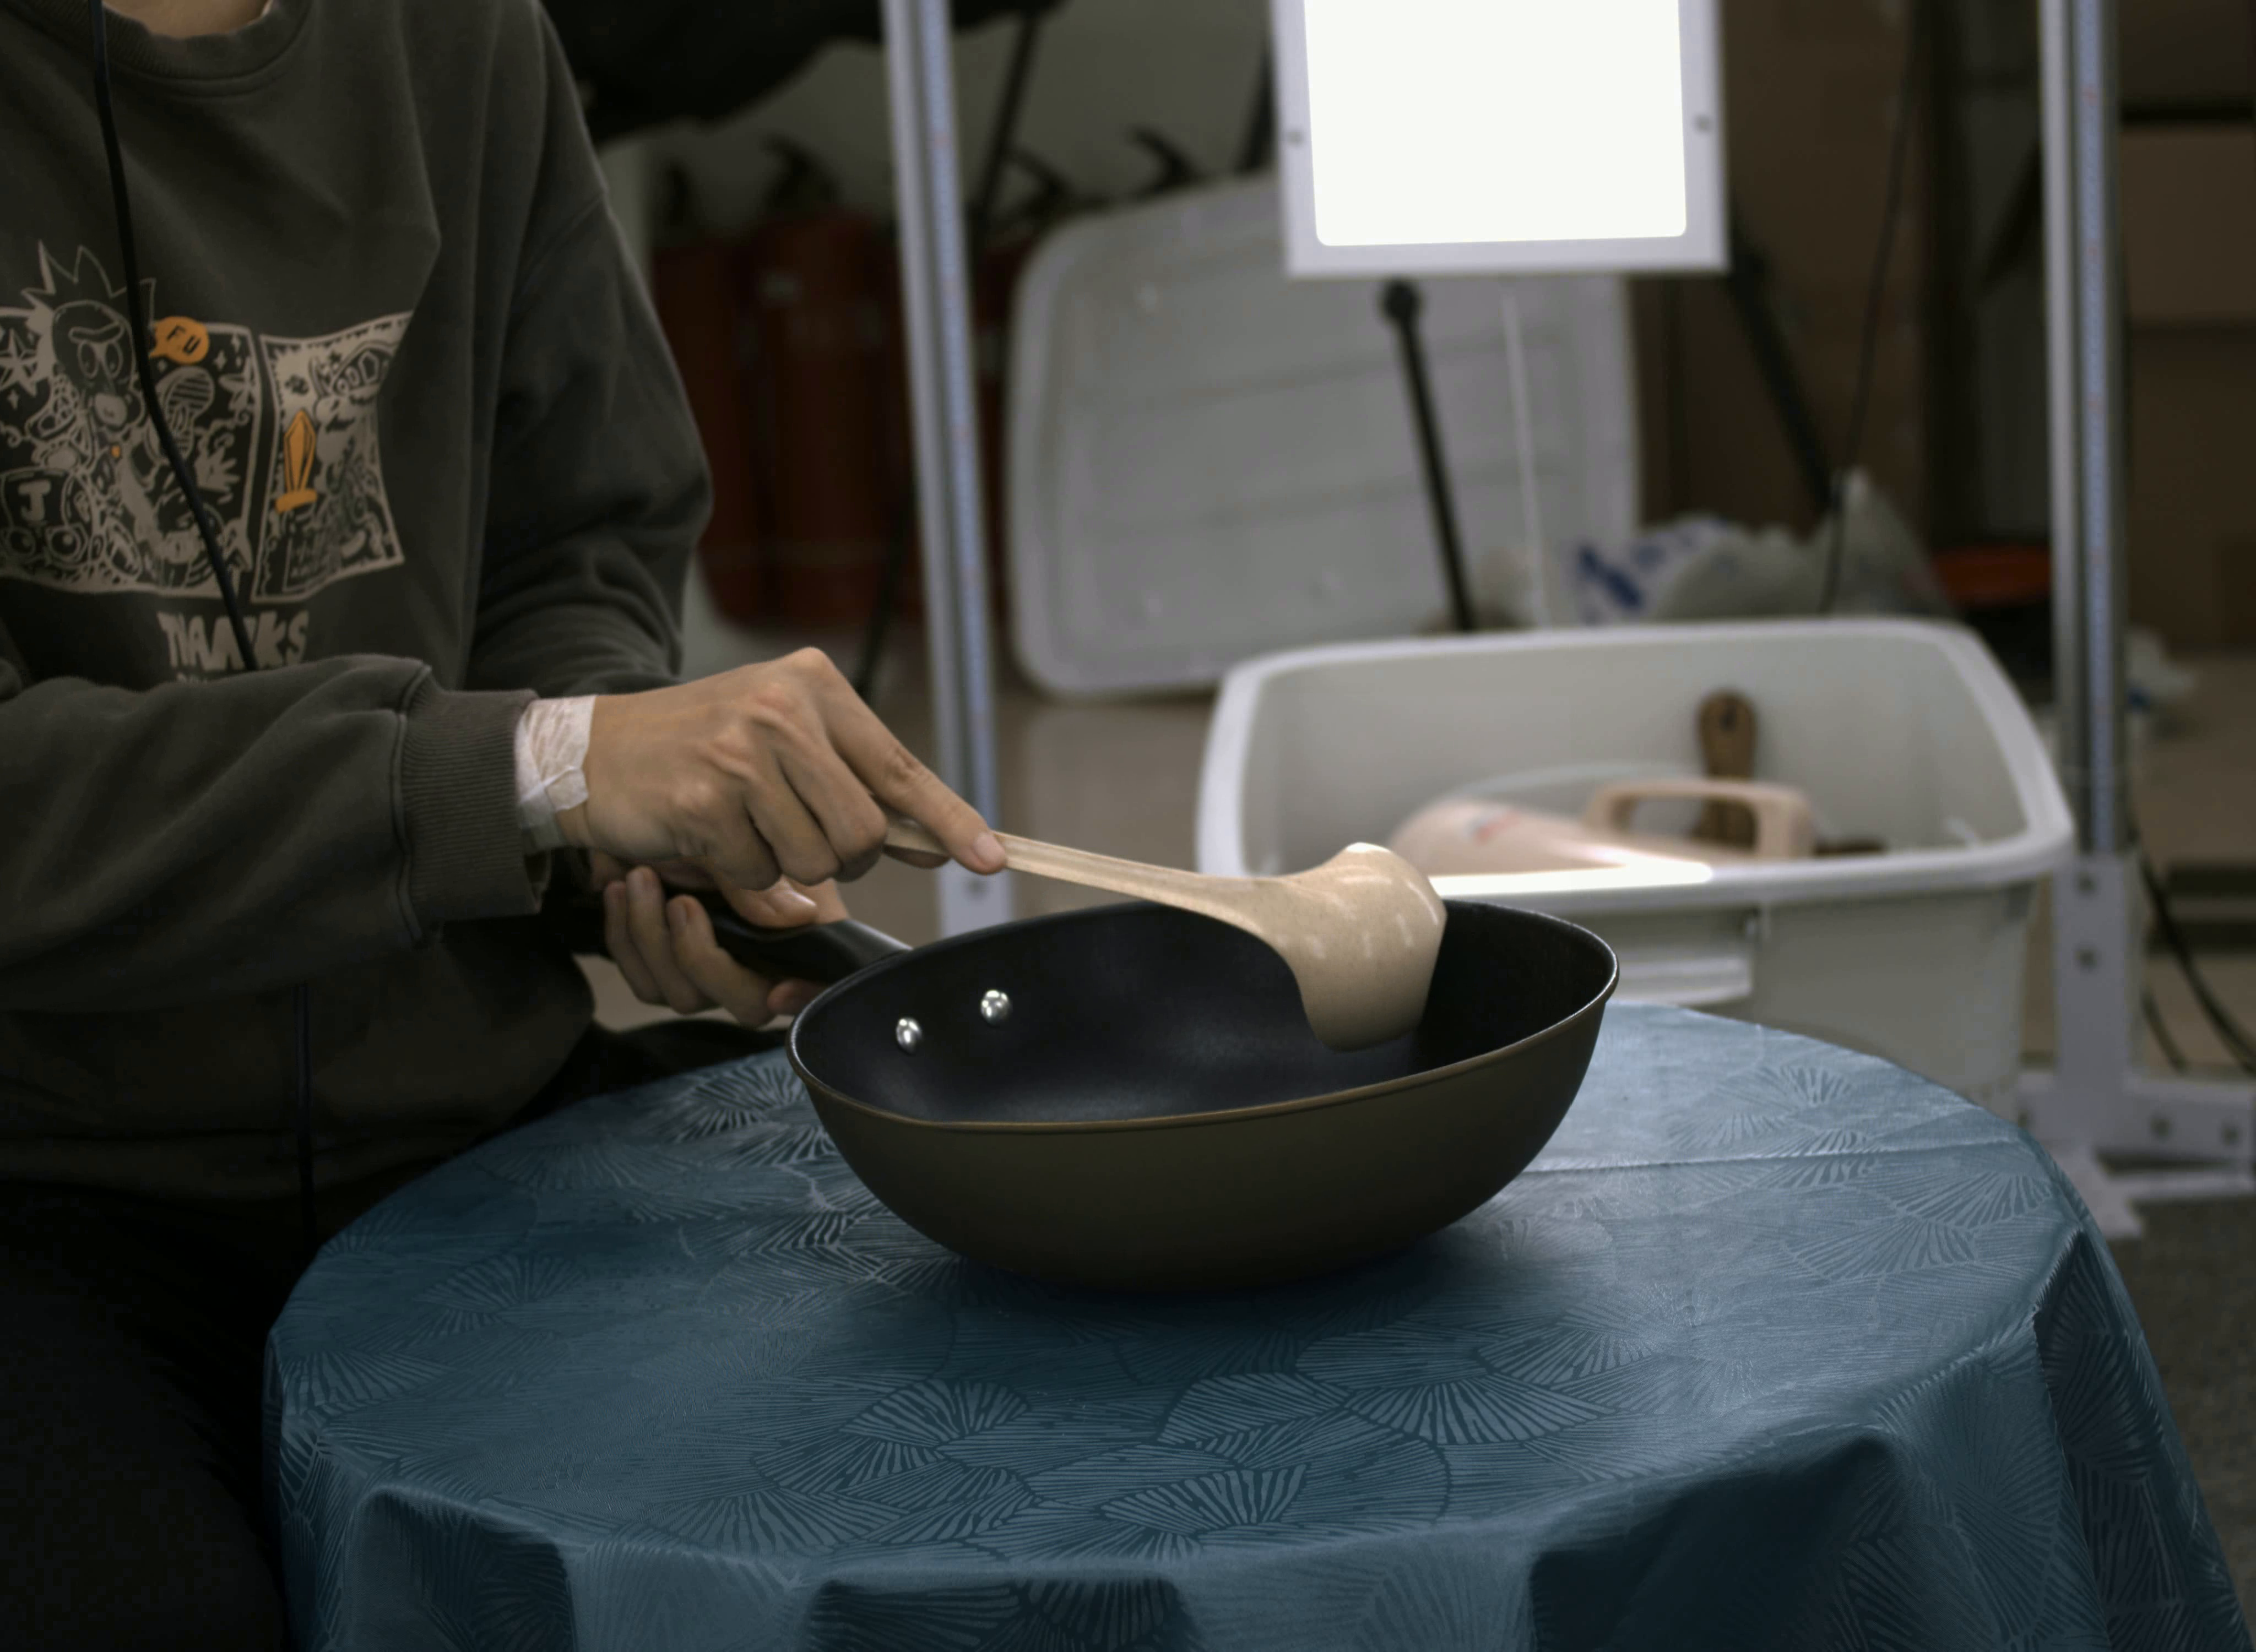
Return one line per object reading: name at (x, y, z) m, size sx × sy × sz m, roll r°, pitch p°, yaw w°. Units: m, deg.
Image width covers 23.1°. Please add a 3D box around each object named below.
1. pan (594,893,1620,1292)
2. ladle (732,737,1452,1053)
pan at (-0.036, 0.085, 1.907) m, size 0.281 × 0.087 × 0.473 m, roll -18°, pitch 17°, yaw -41°
ladle at (-0.012, 0.016, 1.919) m, size 0.256 × 0.072 × 0.072 m, roll 16°, pitch -7°, yaw 11°
